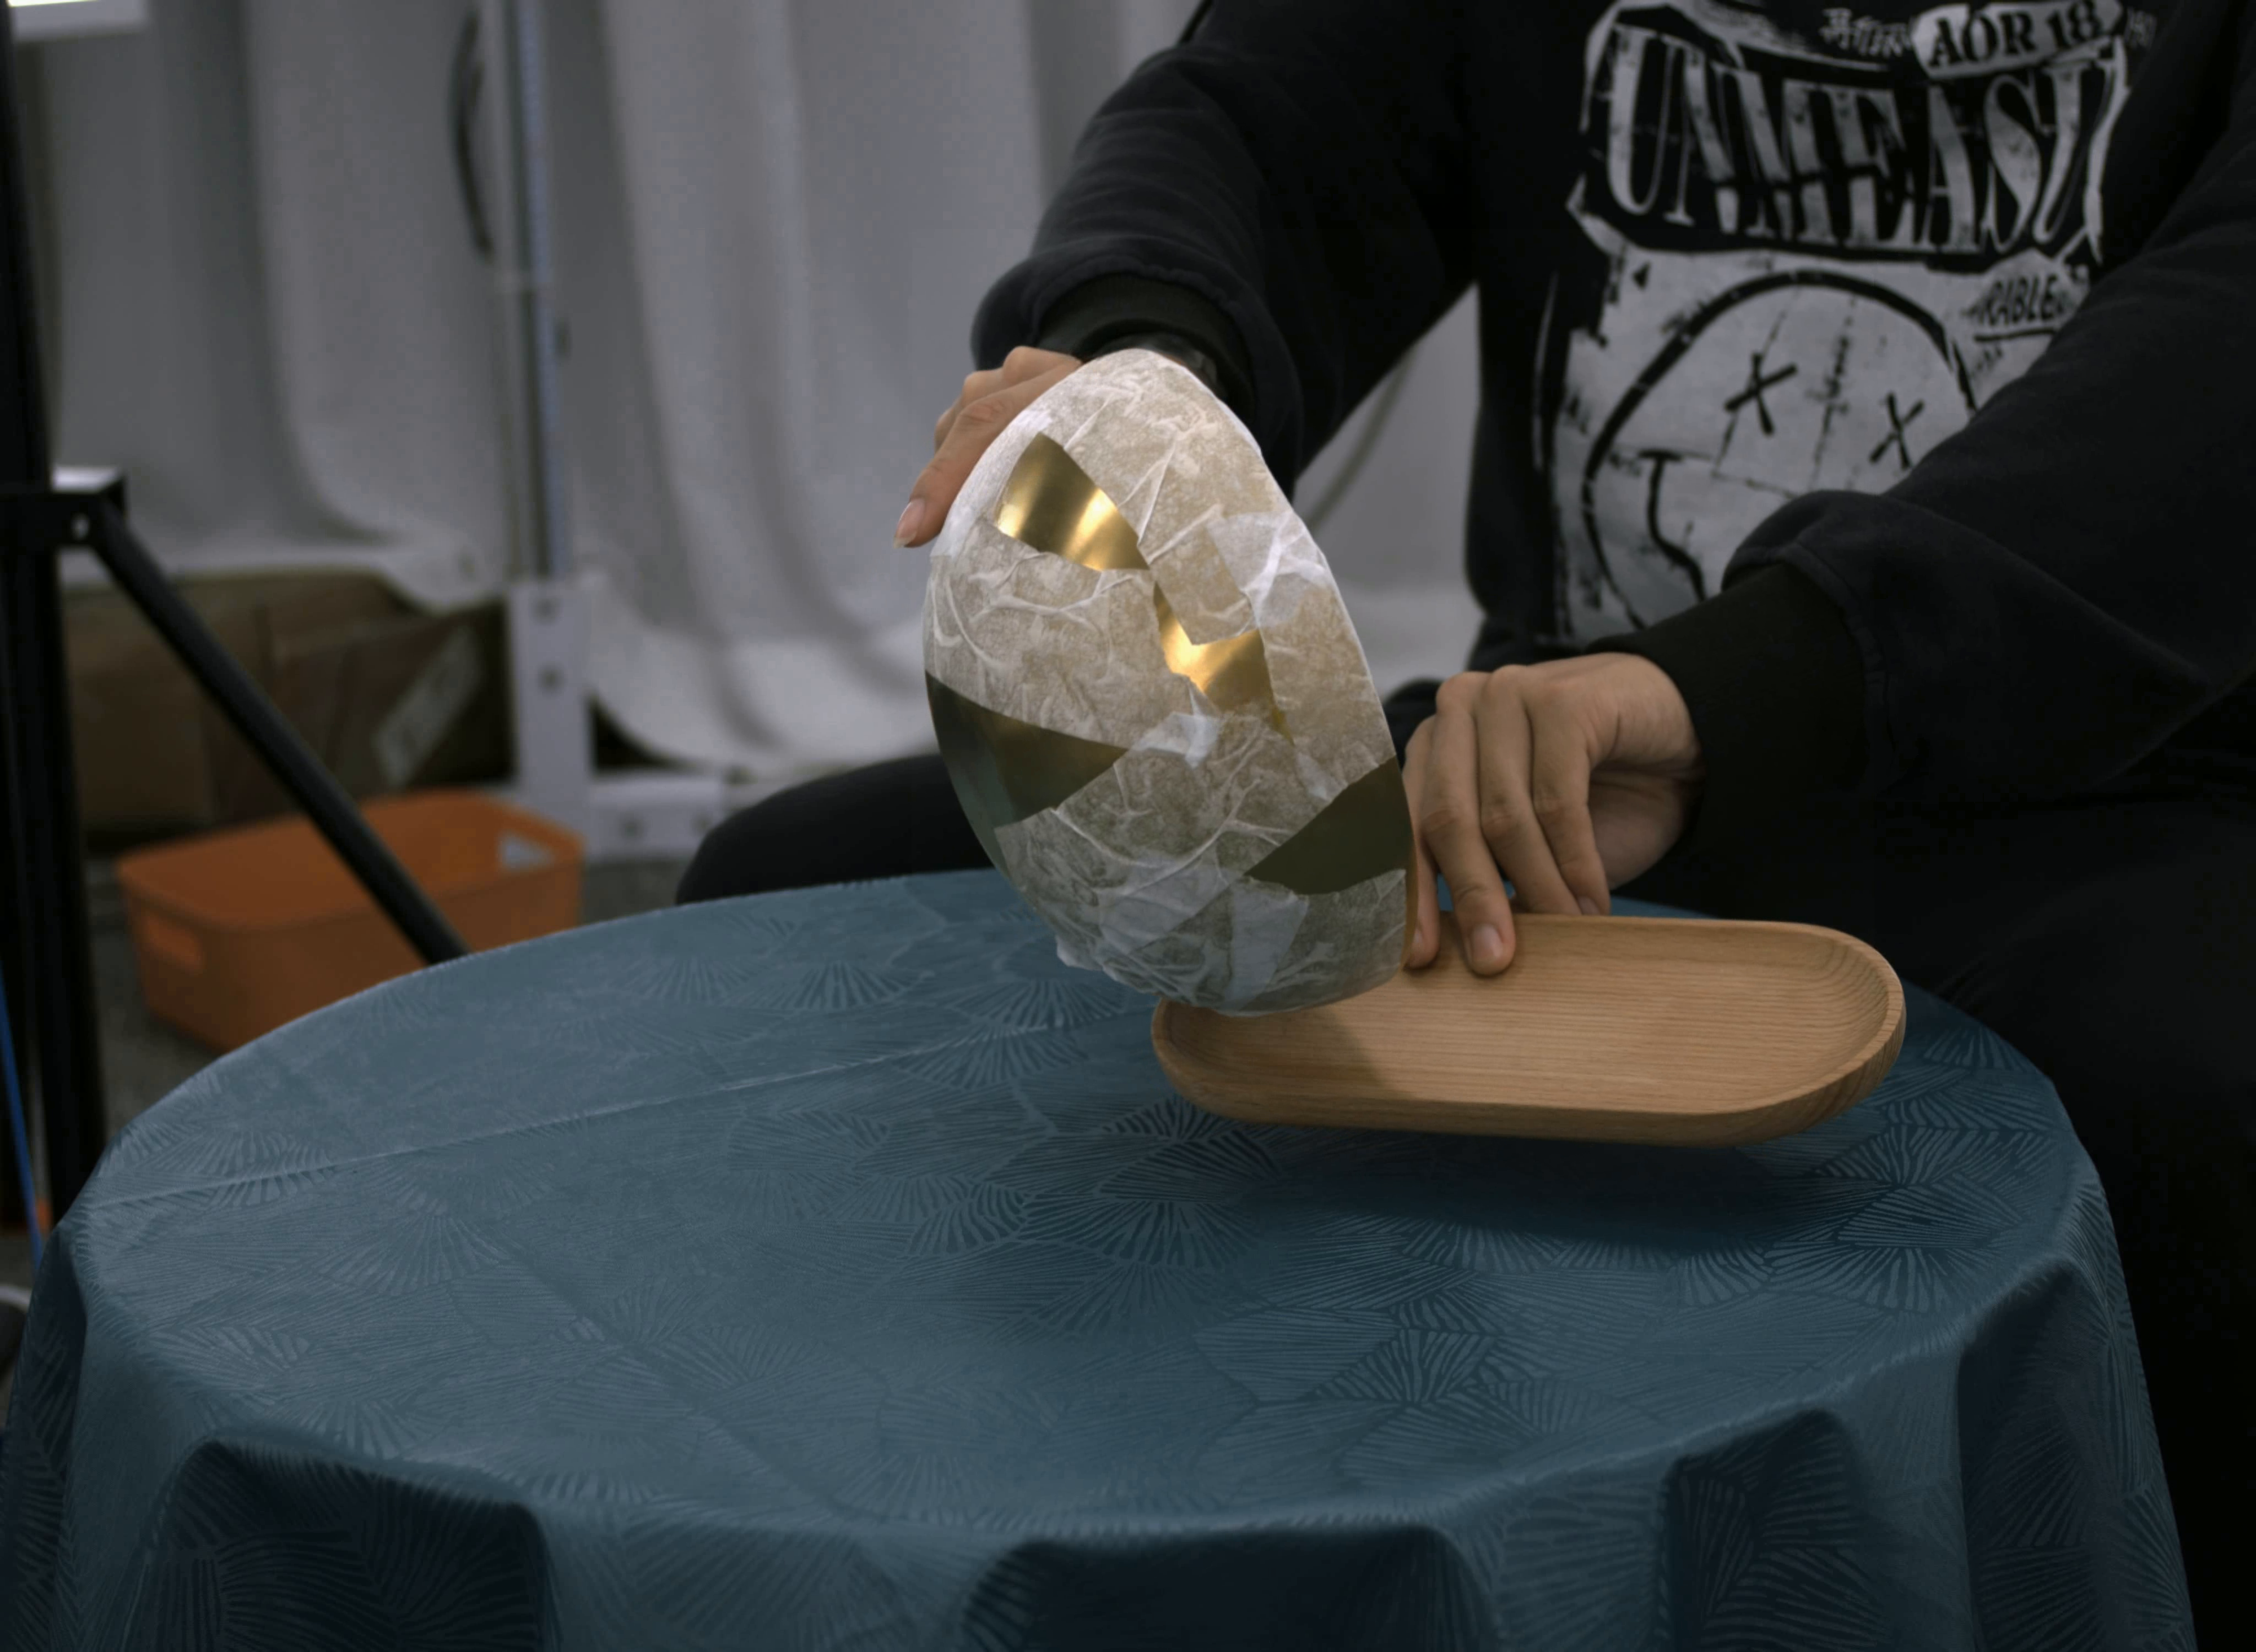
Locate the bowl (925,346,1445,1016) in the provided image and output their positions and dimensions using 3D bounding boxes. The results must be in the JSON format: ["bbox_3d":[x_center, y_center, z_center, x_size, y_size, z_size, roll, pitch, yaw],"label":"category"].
[{"bbox_3d":[0.000,-0.025,1.543,0.093,0.213,0.219,-24,22,-15],"label":"bowl"}]

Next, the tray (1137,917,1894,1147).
[{"bbox_3d":[0.113,0.061,1.562,0.234,0.020,0.101,-1,30,27],"label":"tray"}]
